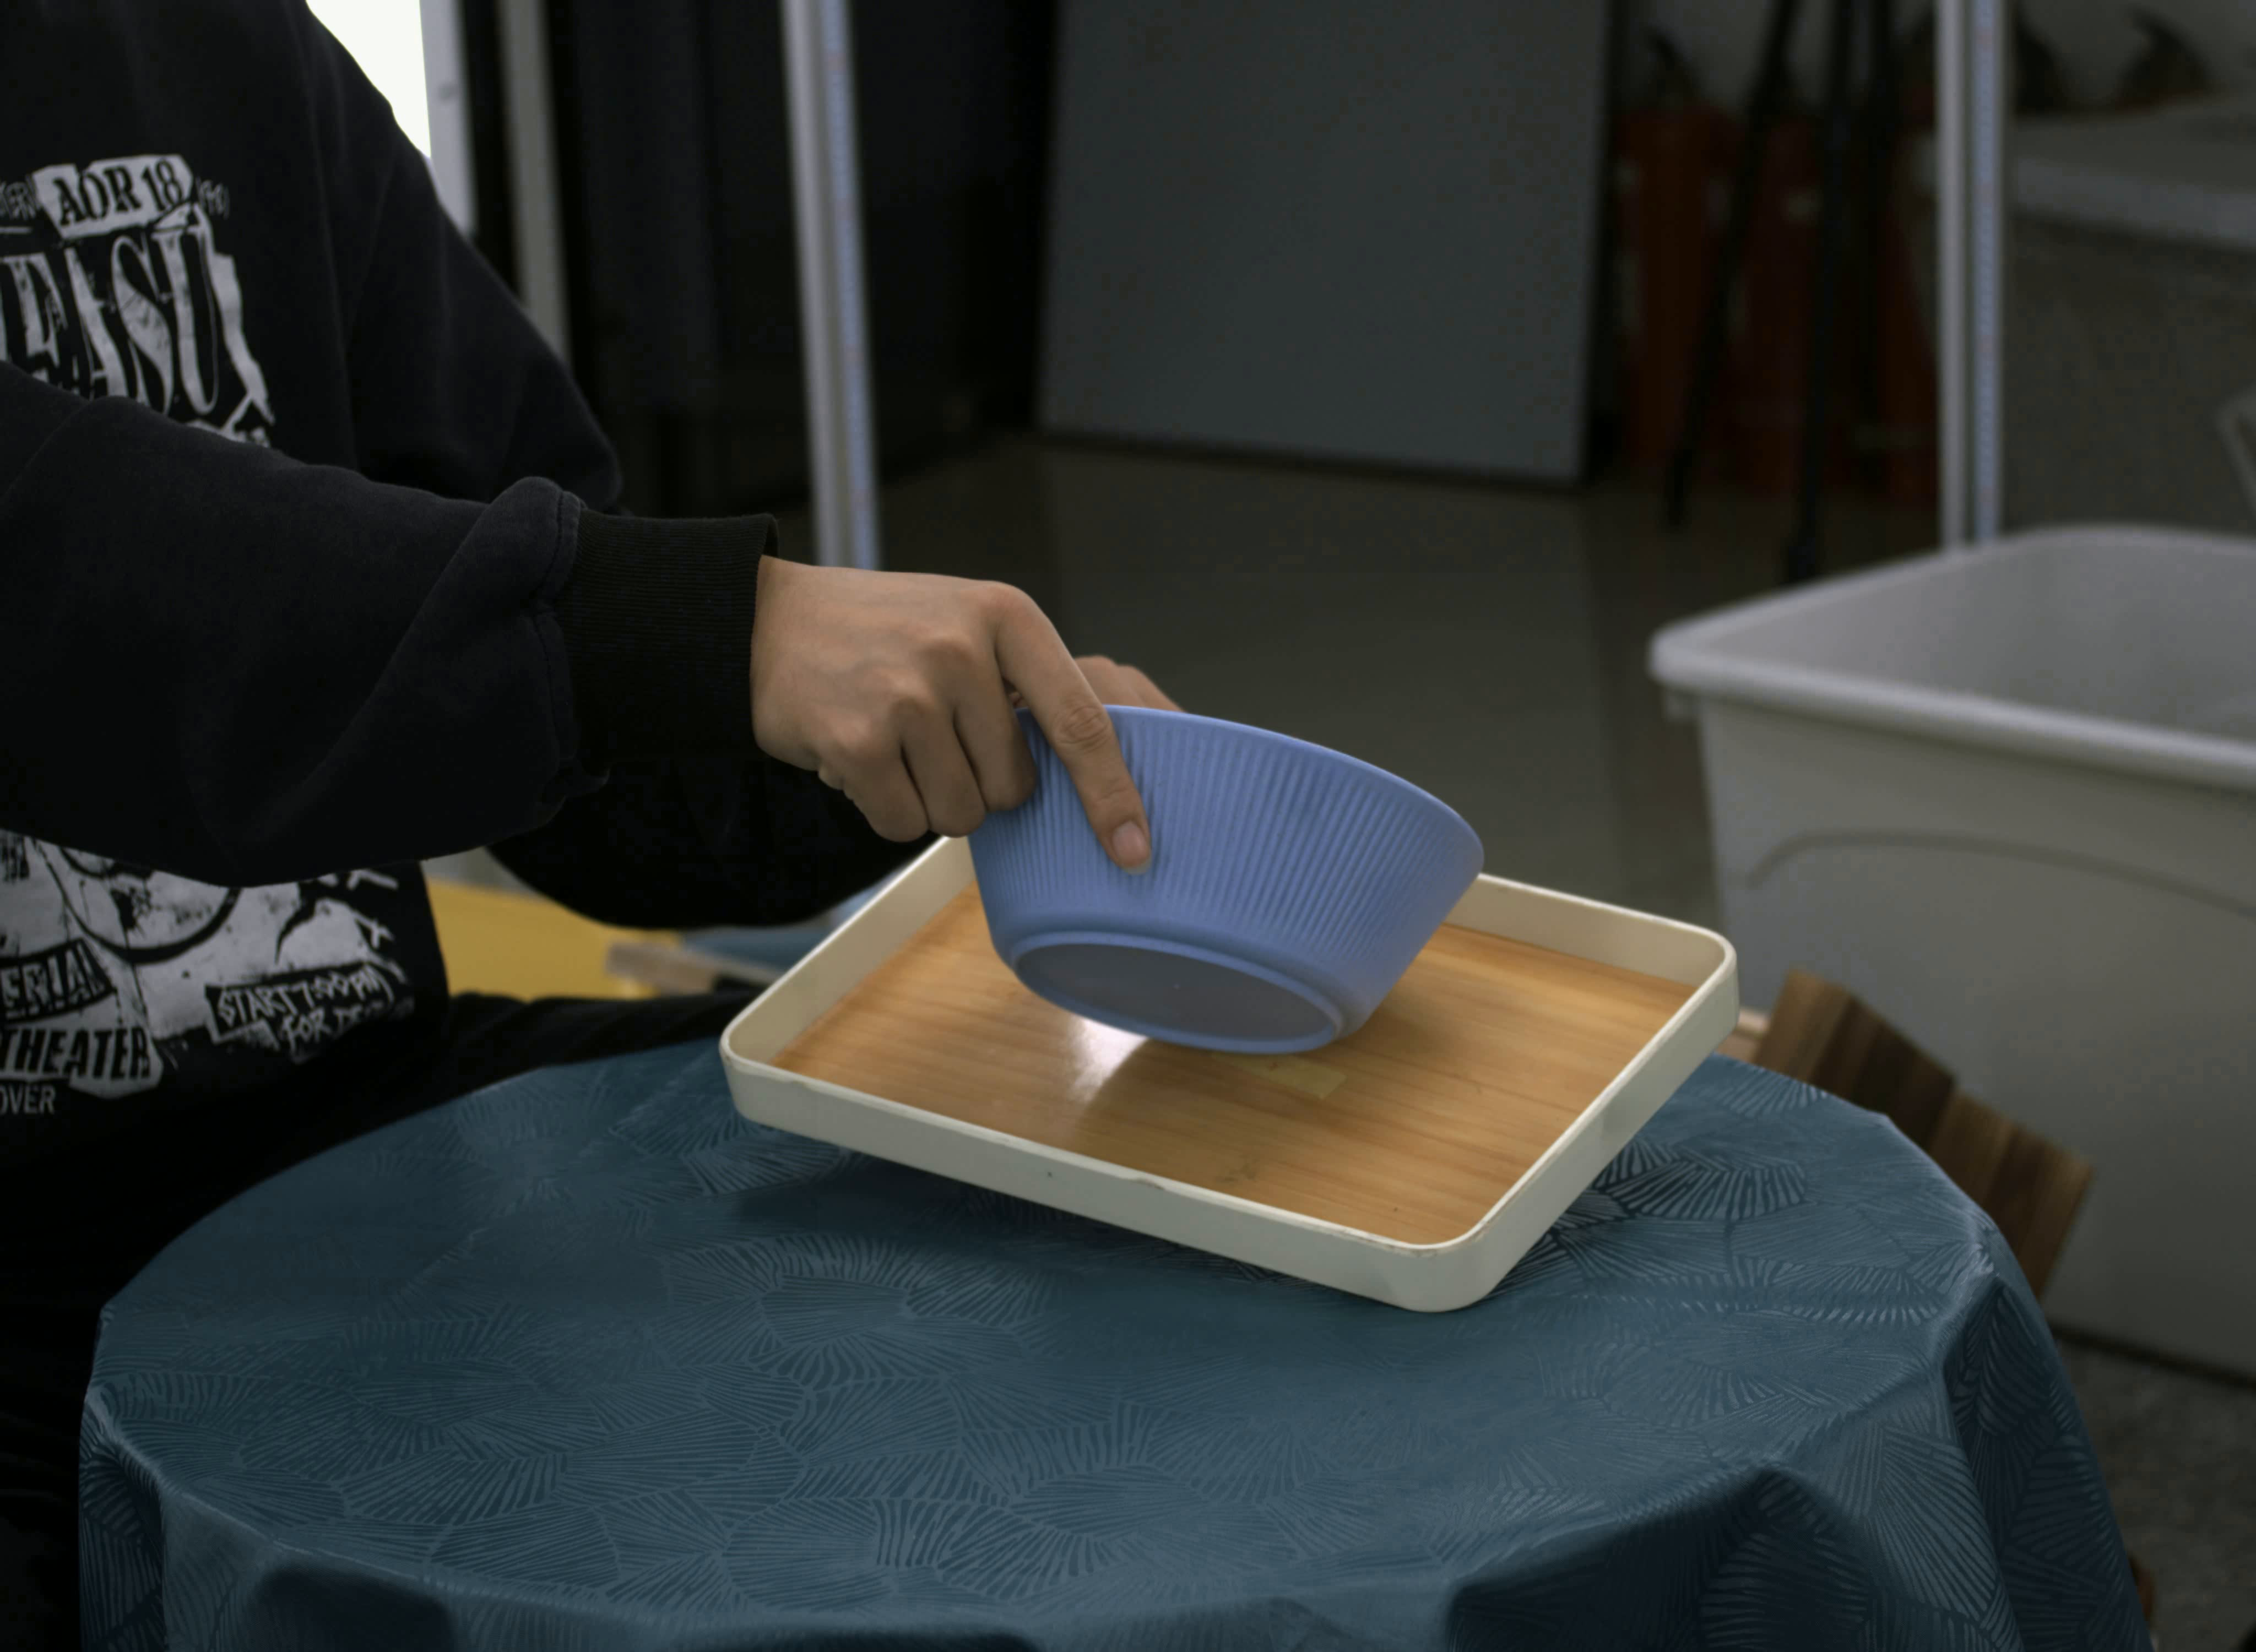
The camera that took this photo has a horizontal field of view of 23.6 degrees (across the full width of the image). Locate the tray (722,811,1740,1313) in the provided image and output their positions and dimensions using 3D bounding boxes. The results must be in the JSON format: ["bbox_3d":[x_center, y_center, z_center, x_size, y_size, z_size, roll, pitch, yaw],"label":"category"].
[{"bbox_3d":[0.033,0.066,1.767,0.302,0.027,0.189,13,39,35],"label":"tray"}]

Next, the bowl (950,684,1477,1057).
[{"bbox_3d":[0.020,0.021,1.719,0.174,0.071,0.176,13,-19,4],"label":"bowl"}]
